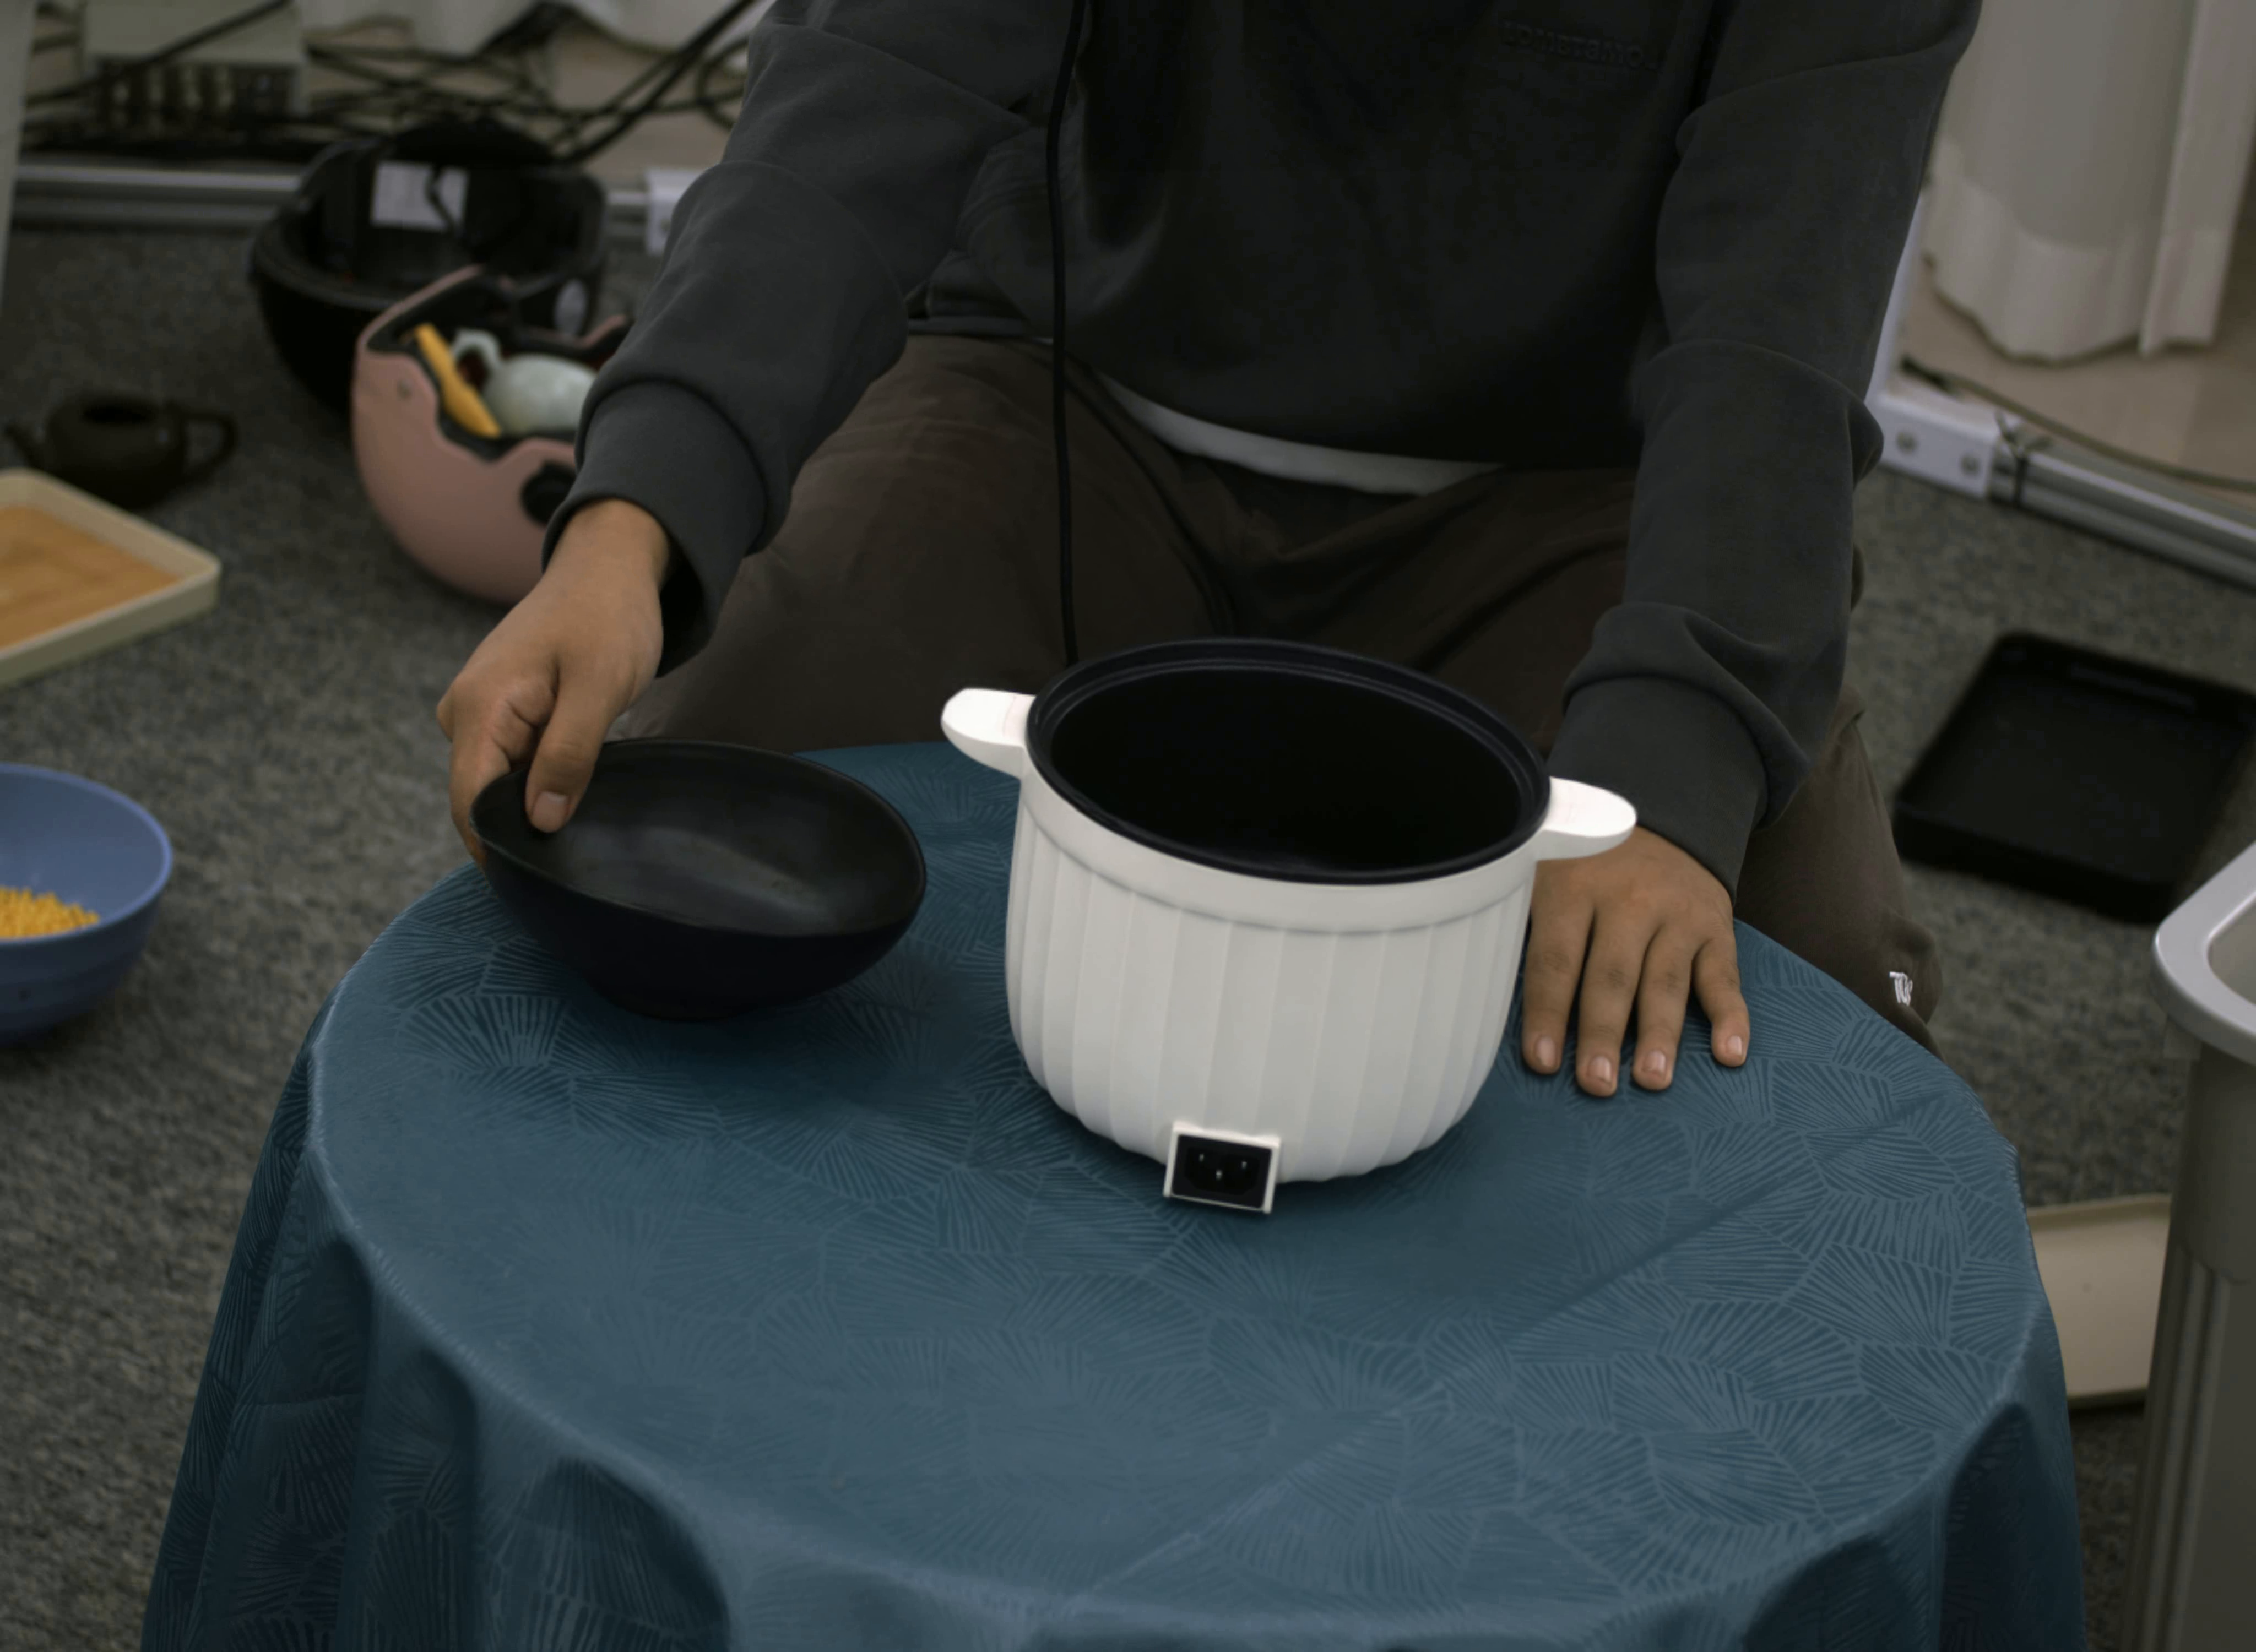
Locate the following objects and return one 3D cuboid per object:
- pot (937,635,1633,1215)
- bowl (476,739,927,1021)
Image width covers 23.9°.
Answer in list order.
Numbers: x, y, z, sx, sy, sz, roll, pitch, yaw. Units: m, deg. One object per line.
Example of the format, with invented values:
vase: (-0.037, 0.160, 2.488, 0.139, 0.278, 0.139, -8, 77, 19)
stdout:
pot: (0.046, 0.031, 1.848, 0.240, 0.142, 0.191, 9, 30, 2)
bowl: (-0.155, 0.027, 1.889, 0.171, 0.066, 0.137, 16, 28, 20)
